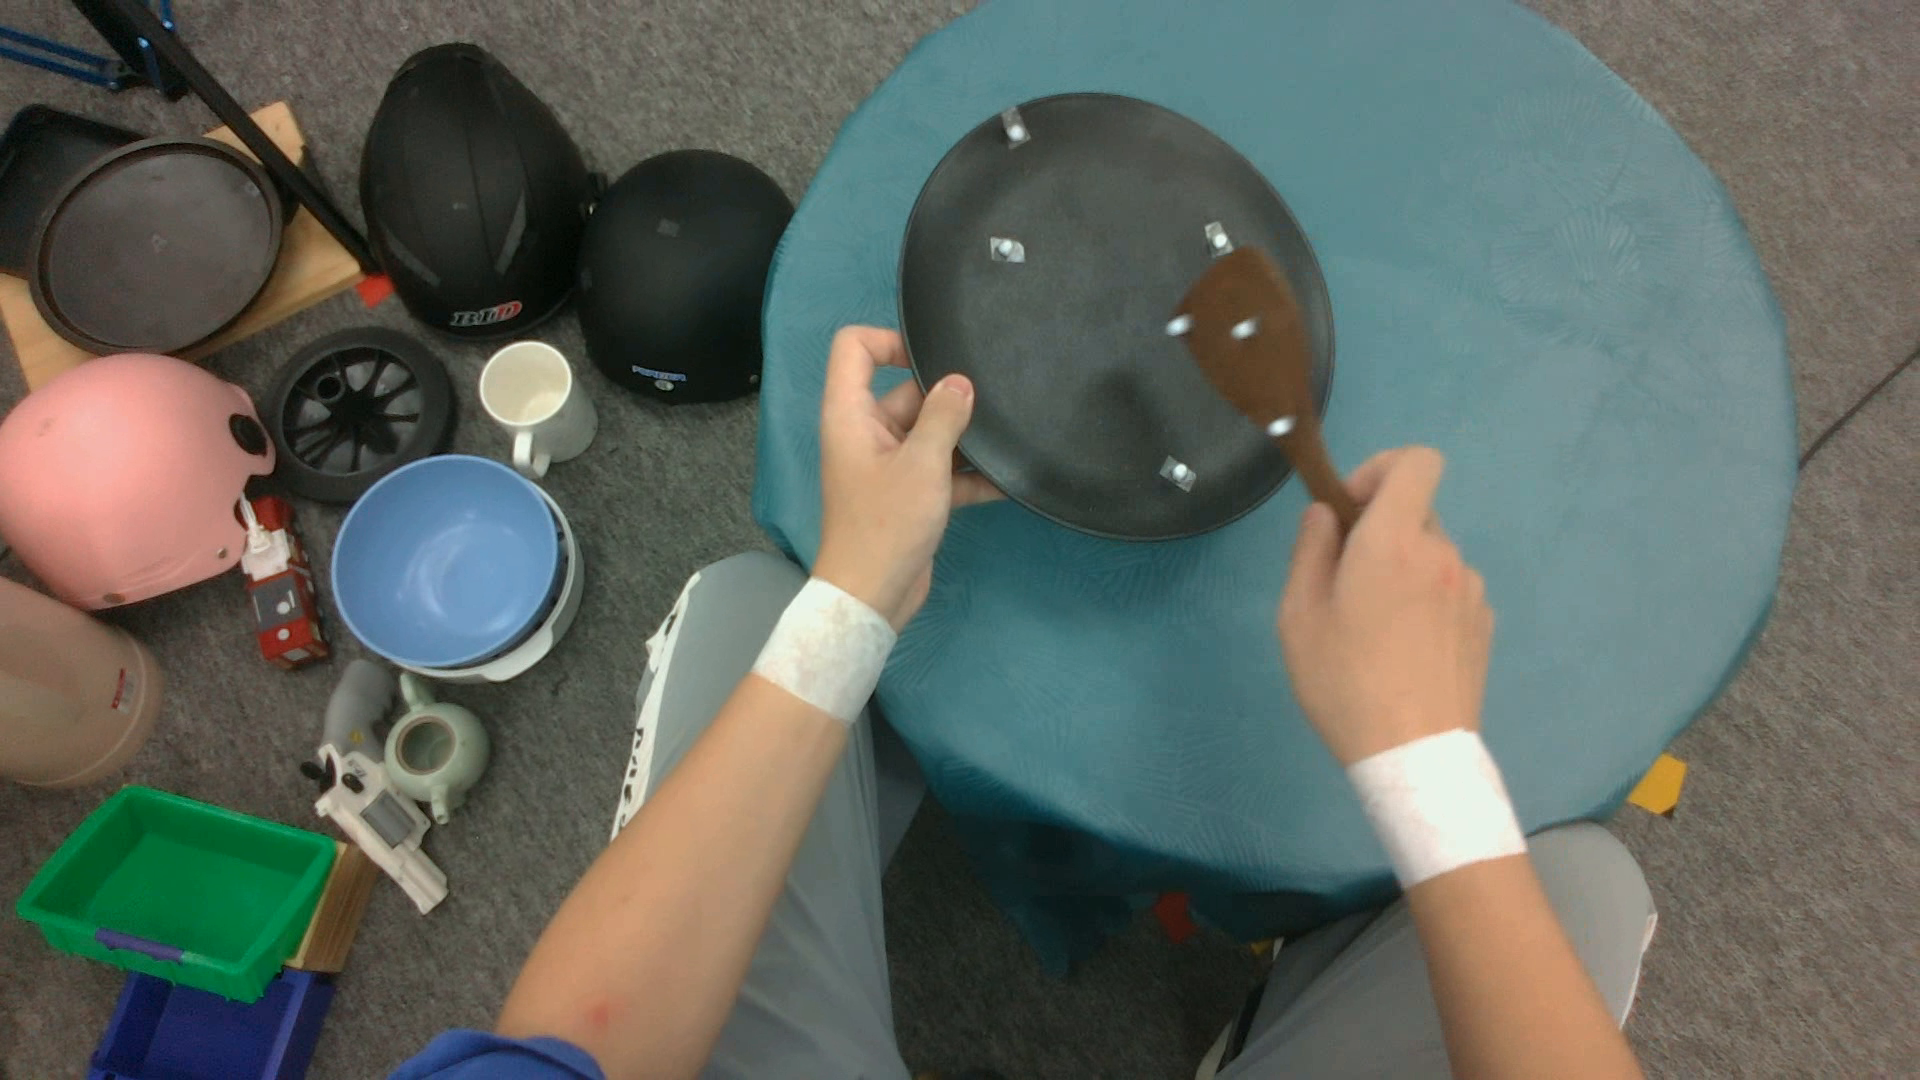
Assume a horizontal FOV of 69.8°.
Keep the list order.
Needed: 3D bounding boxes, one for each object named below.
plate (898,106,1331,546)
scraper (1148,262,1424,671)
[{"bbox_3d":[0.083,-0.114,0.727,0.245,0.023,0.245,4,76,-16],"label":"plate"},{"bbox_3d":[0.159,-0.032,0.656,0.011,0.075,0.211,-25,82,-30],"label":"scraper"}]
